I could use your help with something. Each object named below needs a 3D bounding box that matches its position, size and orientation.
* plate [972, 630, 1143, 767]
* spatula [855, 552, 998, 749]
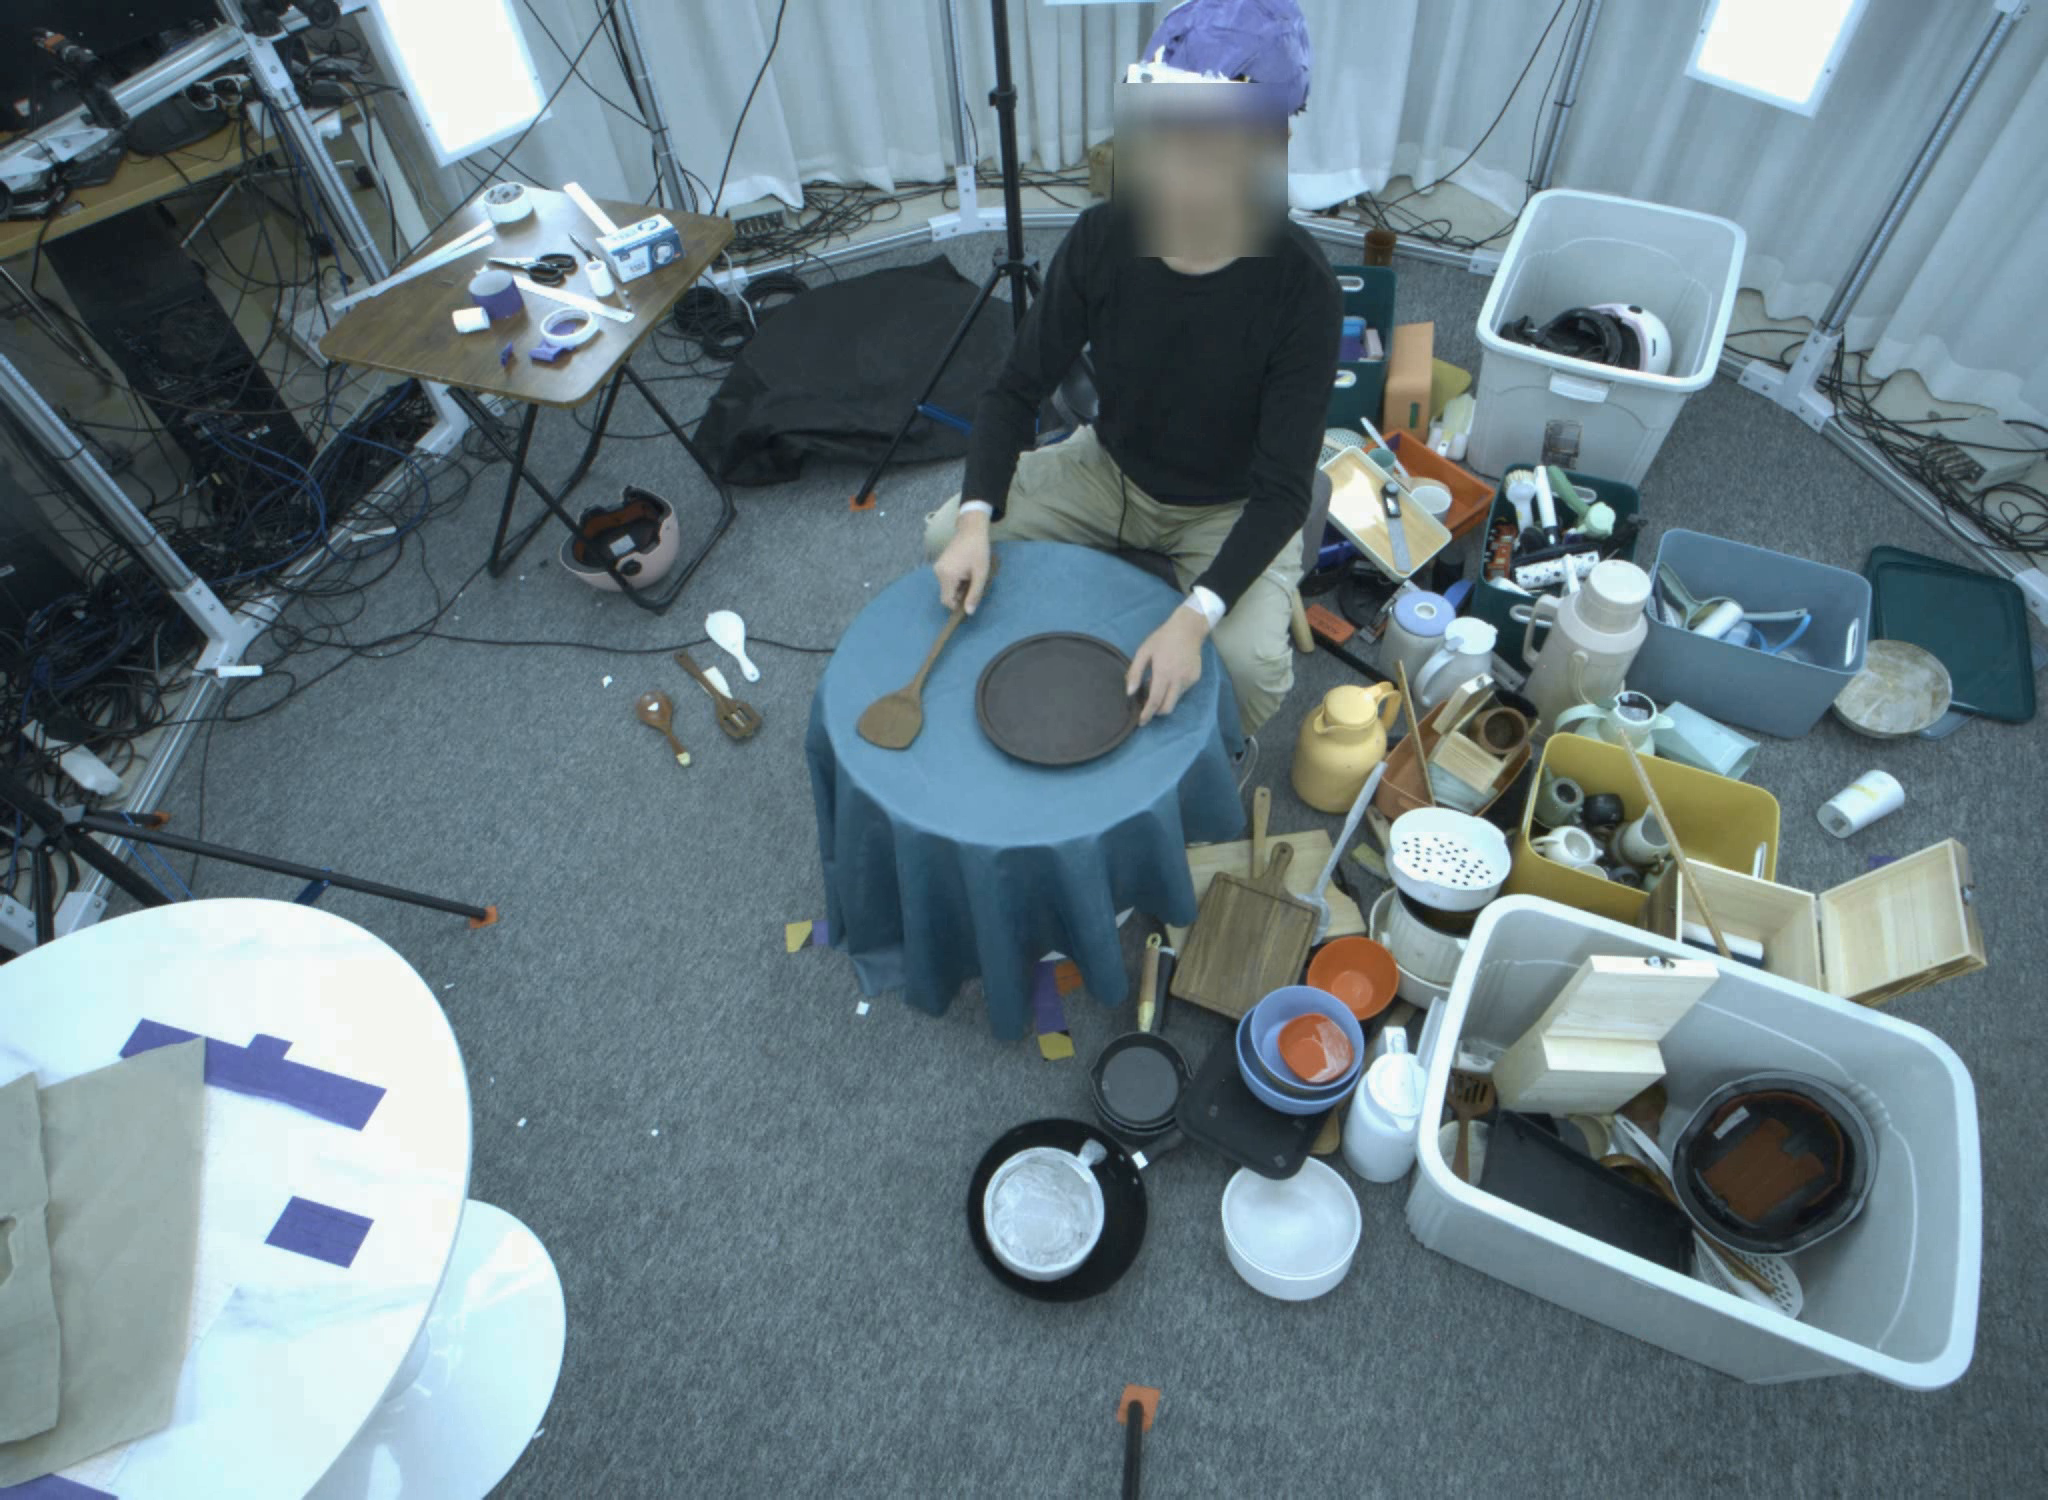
[{"bbox_3d":[0.050,-0.078,1.826,0.254,0.029,0.252,-1,54,3],"label":"plate"},{"bbox_3d":[-0.134,-0.162,1.879,0.095,0.016,0.386,21,65,15],"label":"spatula"}]
